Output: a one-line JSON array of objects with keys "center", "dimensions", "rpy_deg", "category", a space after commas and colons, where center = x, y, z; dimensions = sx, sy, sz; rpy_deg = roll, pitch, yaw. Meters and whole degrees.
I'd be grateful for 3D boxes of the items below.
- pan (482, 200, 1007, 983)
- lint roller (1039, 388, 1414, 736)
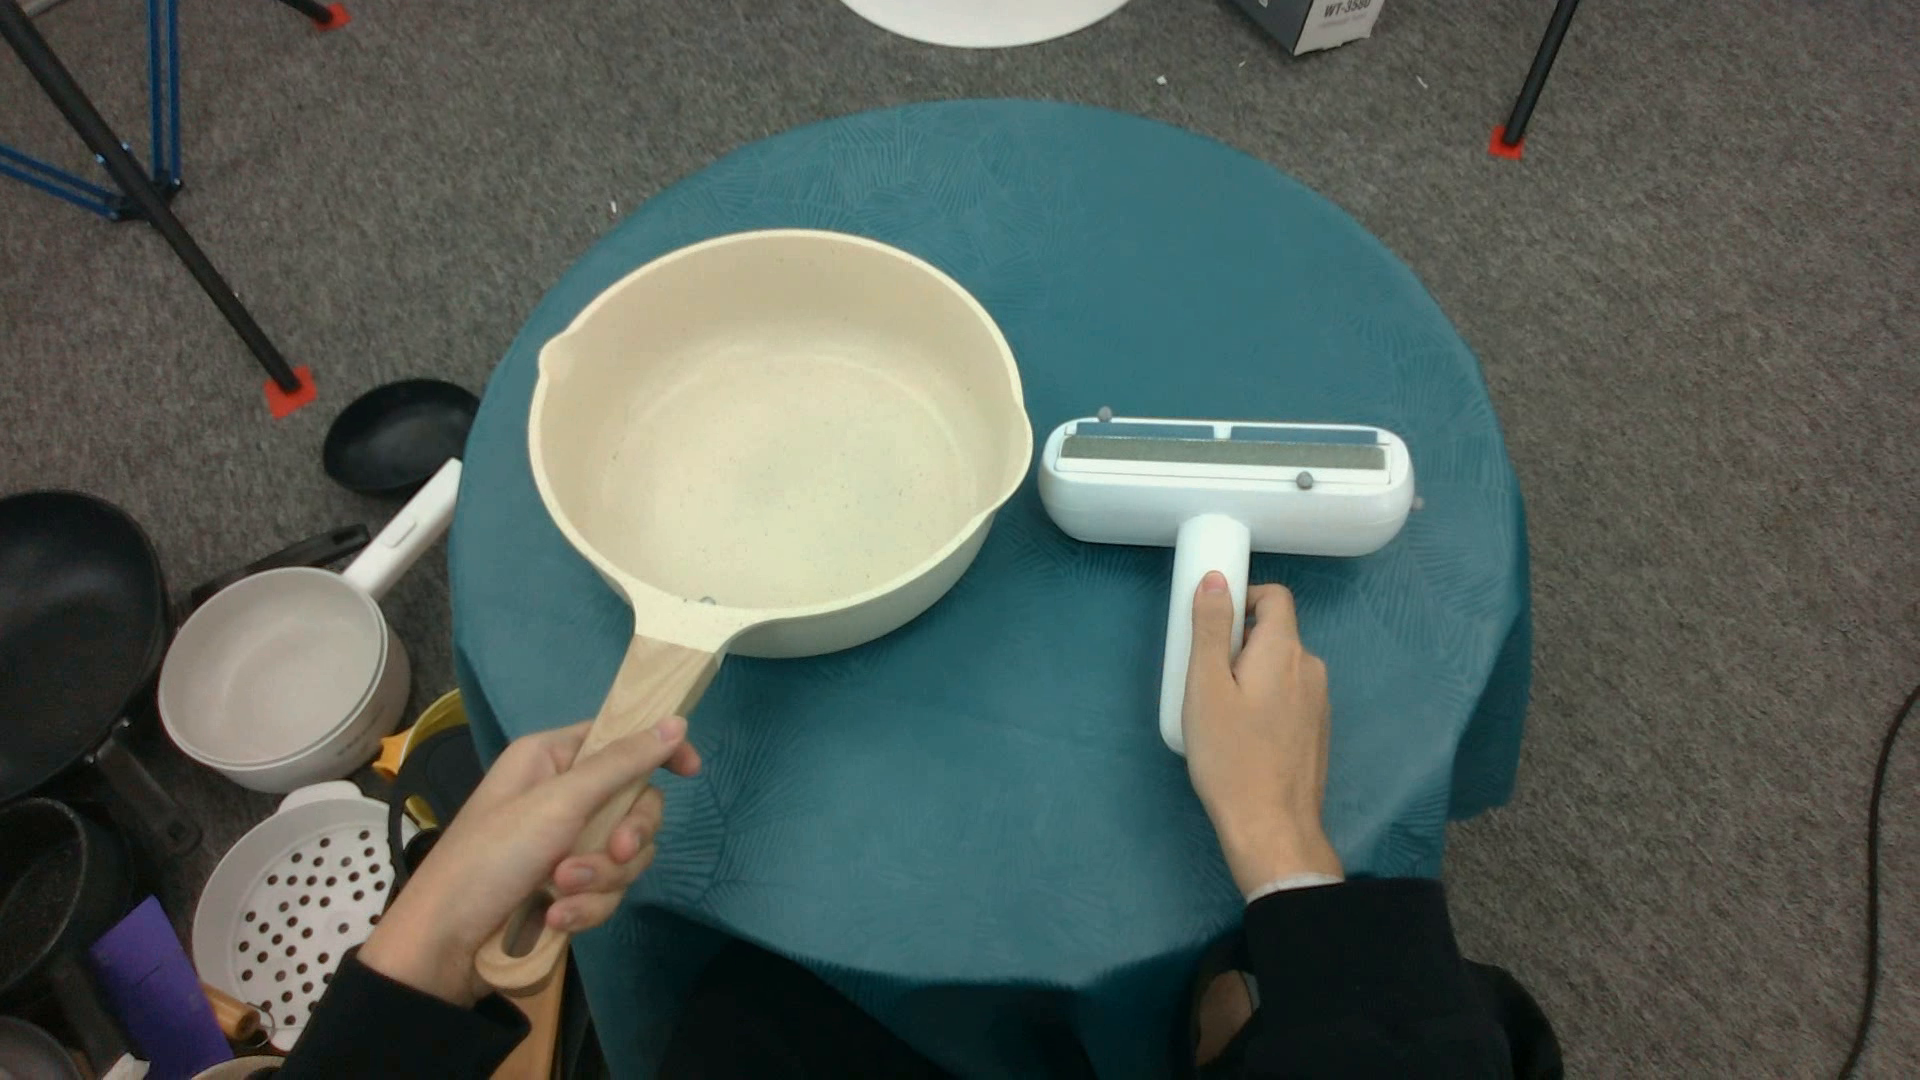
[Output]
[{"center": [-0.129, 0.011, 0.685], "dimensions": [0.263, 0.101, 0.437], "rpy_deg": [13, 59, 5], "category": "pan"}, {"center": [0.124, 0.005, 0.696], "dimensions": [0.193, 0.074, 0.193], "rpy_deg": [8, 52, 12], "category": "lint roller"}]
